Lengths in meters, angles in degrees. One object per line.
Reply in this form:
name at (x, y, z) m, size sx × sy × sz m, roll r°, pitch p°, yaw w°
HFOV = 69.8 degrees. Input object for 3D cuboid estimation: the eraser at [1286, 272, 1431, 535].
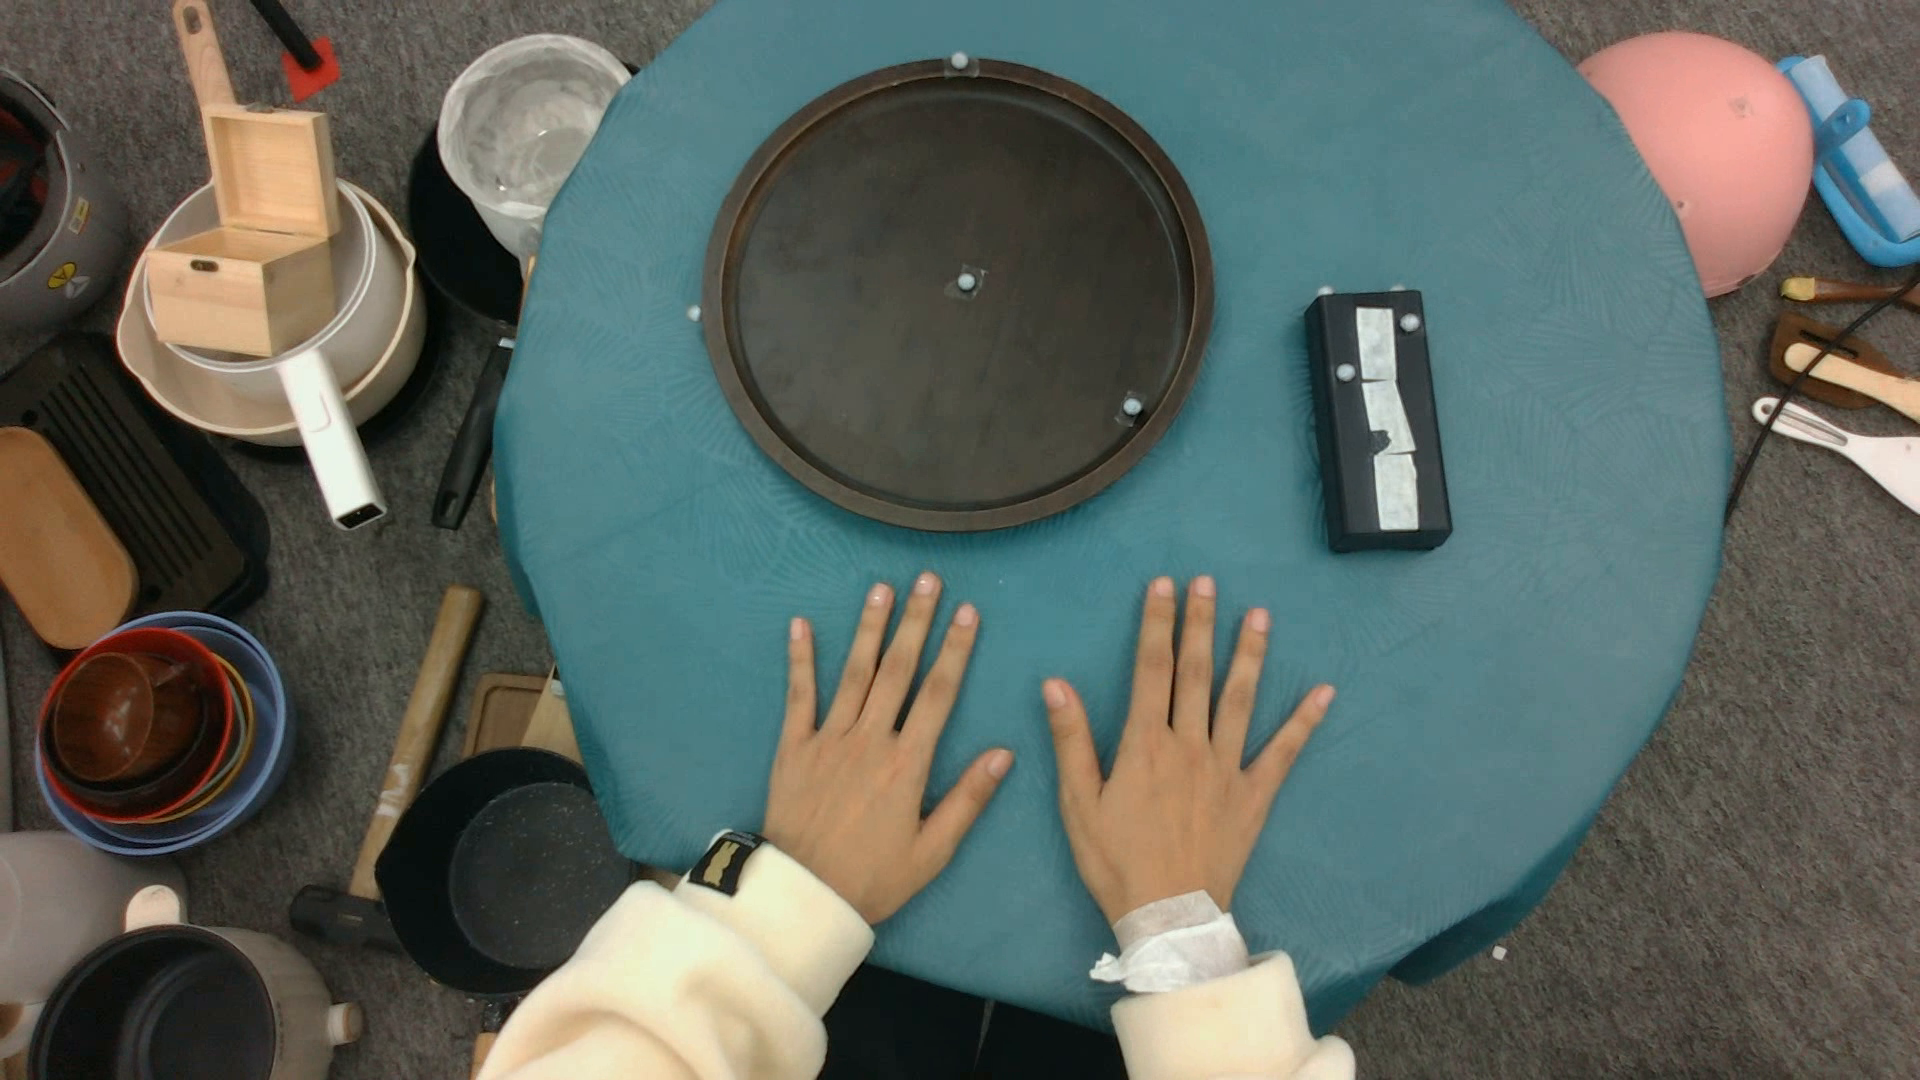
eraser at (0.190, -0.065, 0.663) m, size 0.053 × 0.030 × 0.126 m, roll -3°, pitch 76°, yaw 1°

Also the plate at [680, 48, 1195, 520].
plate at (-0.011, -0.129, 0.683) m, size 0.255 × 0.029 × 0.255 m, roll 0°, pitch 73°, yaw 0°
